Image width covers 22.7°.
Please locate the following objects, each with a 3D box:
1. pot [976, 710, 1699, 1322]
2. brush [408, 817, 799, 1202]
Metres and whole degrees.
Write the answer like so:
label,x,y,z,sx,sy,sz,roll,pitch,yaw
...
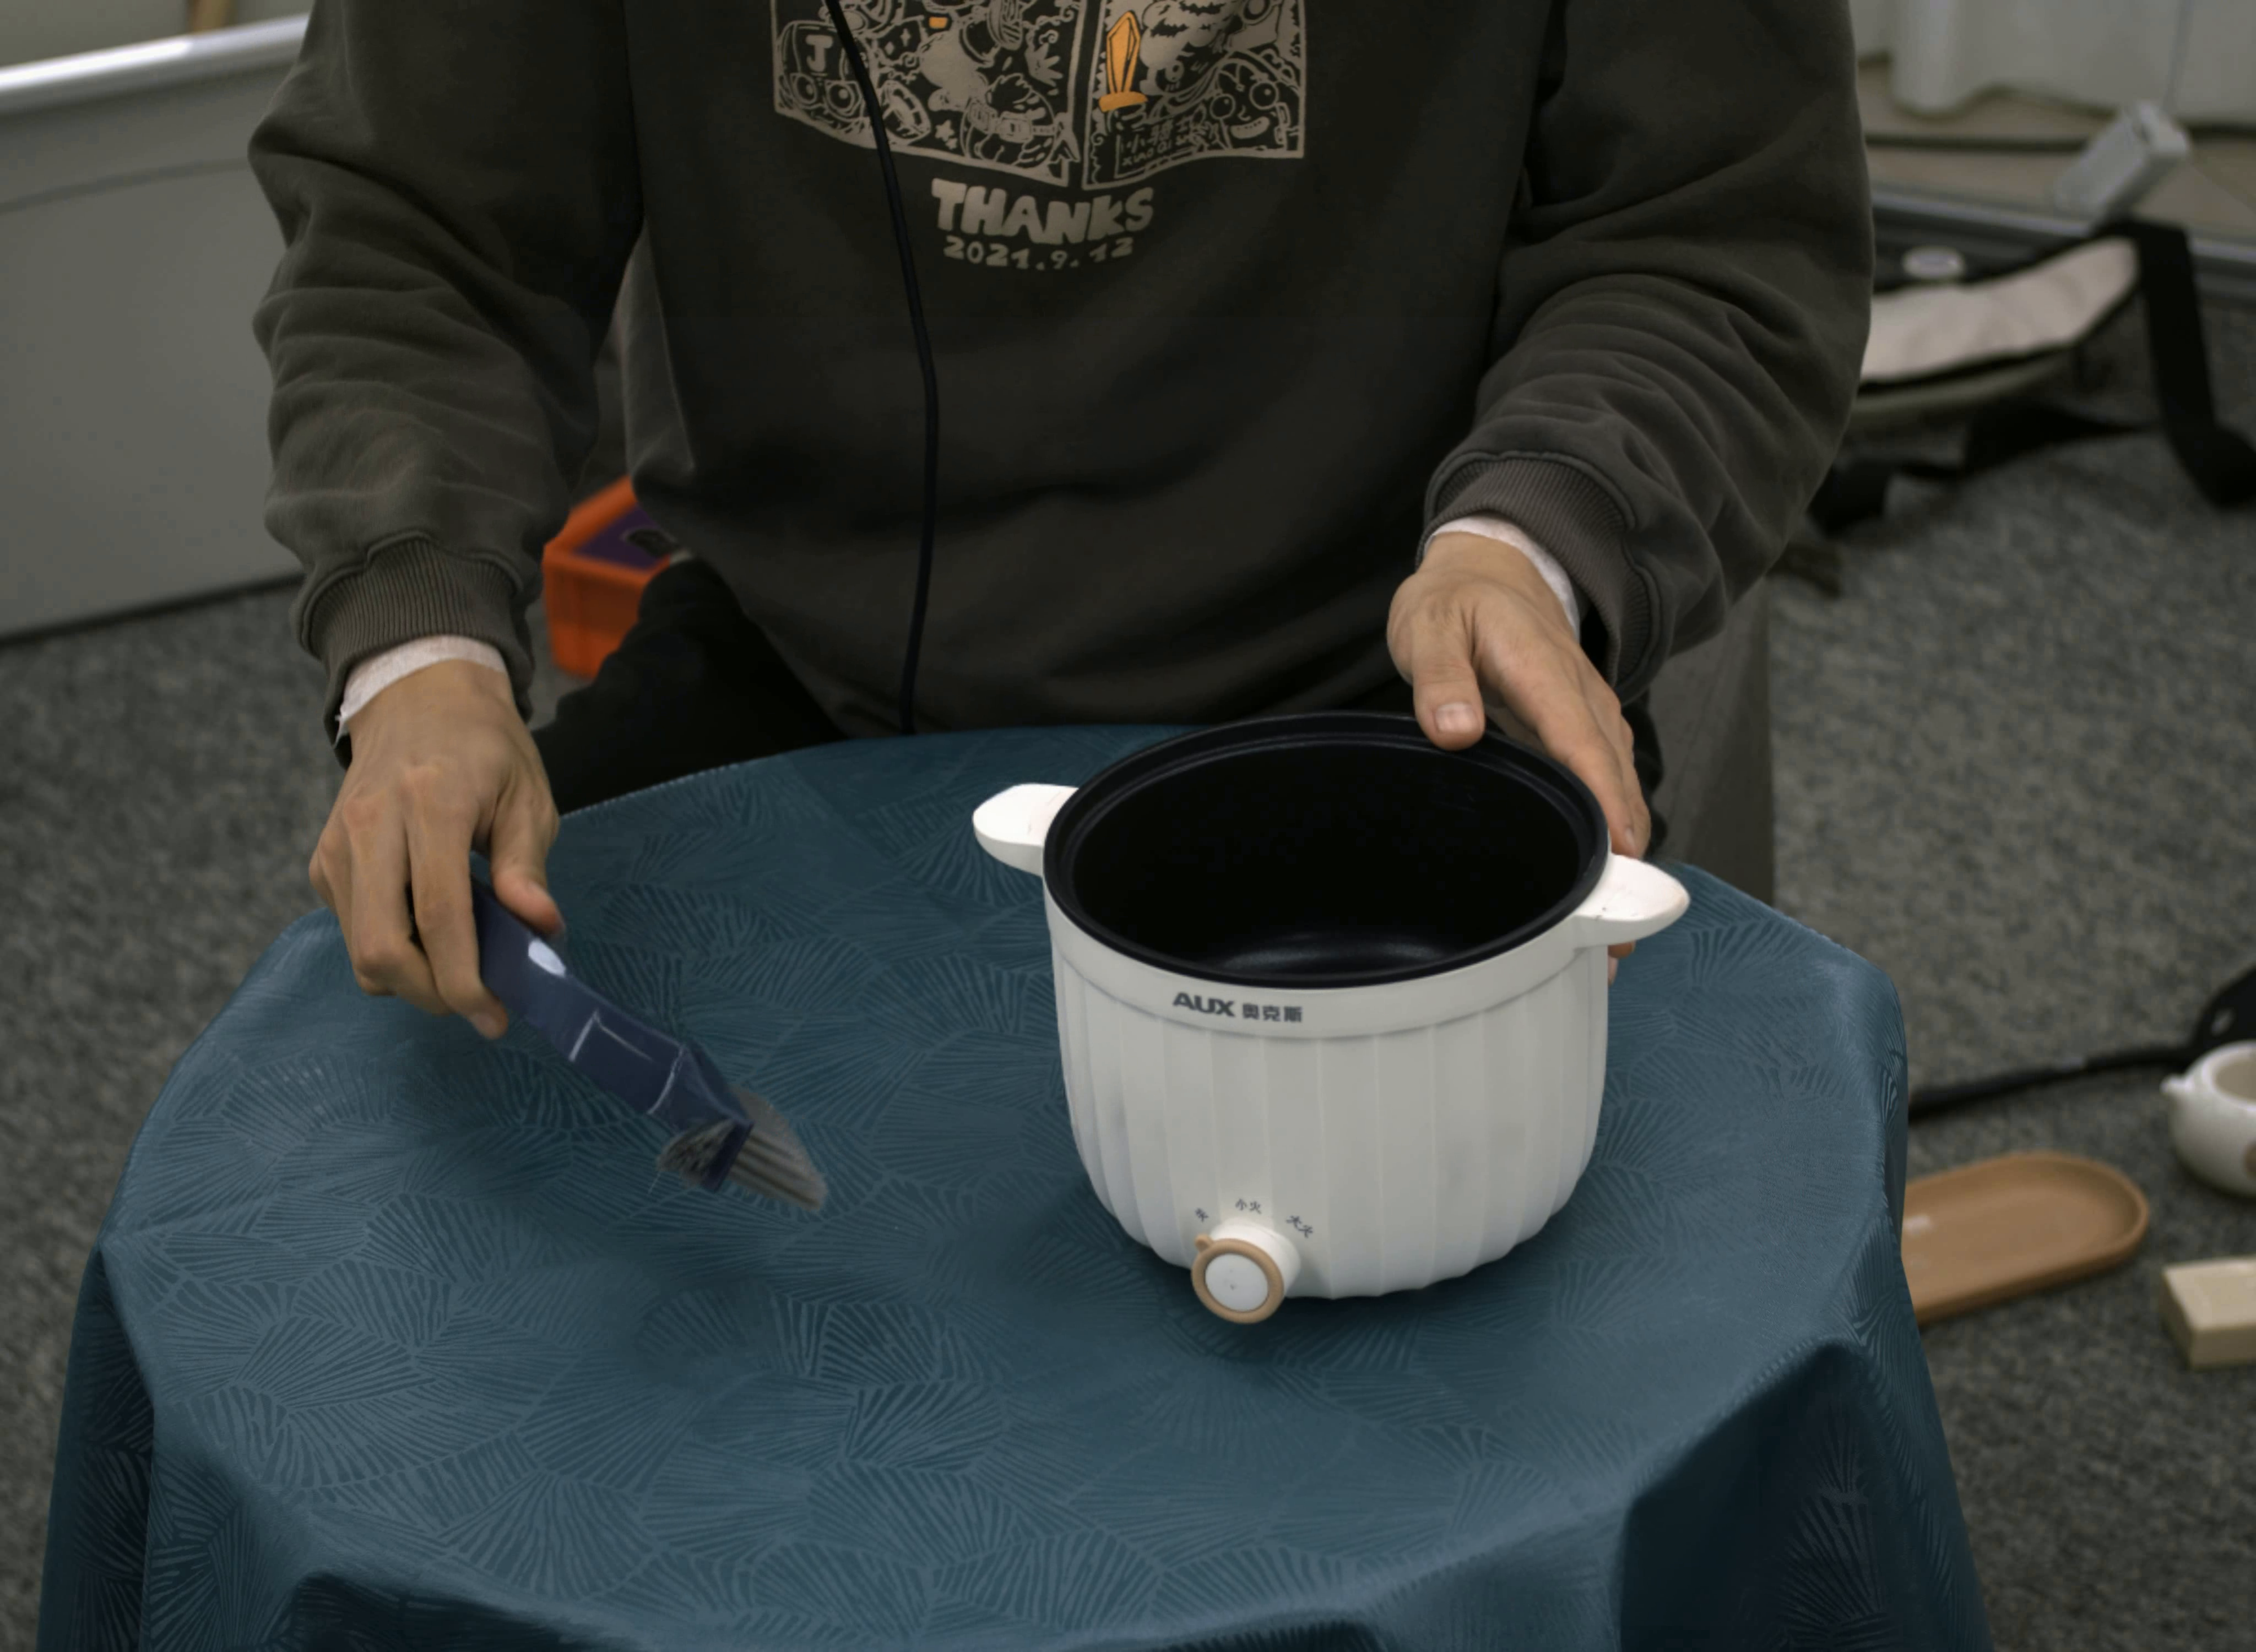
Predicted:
label,x,y,z,sx,sy,sz,roll,pitch,yaw
pot,0.067,0.065,1.814,0.238,0.141,0.193,6,25,19
brush,-0.187,0.055,1.839,0.095,0.033,0.274,22,8,-43
